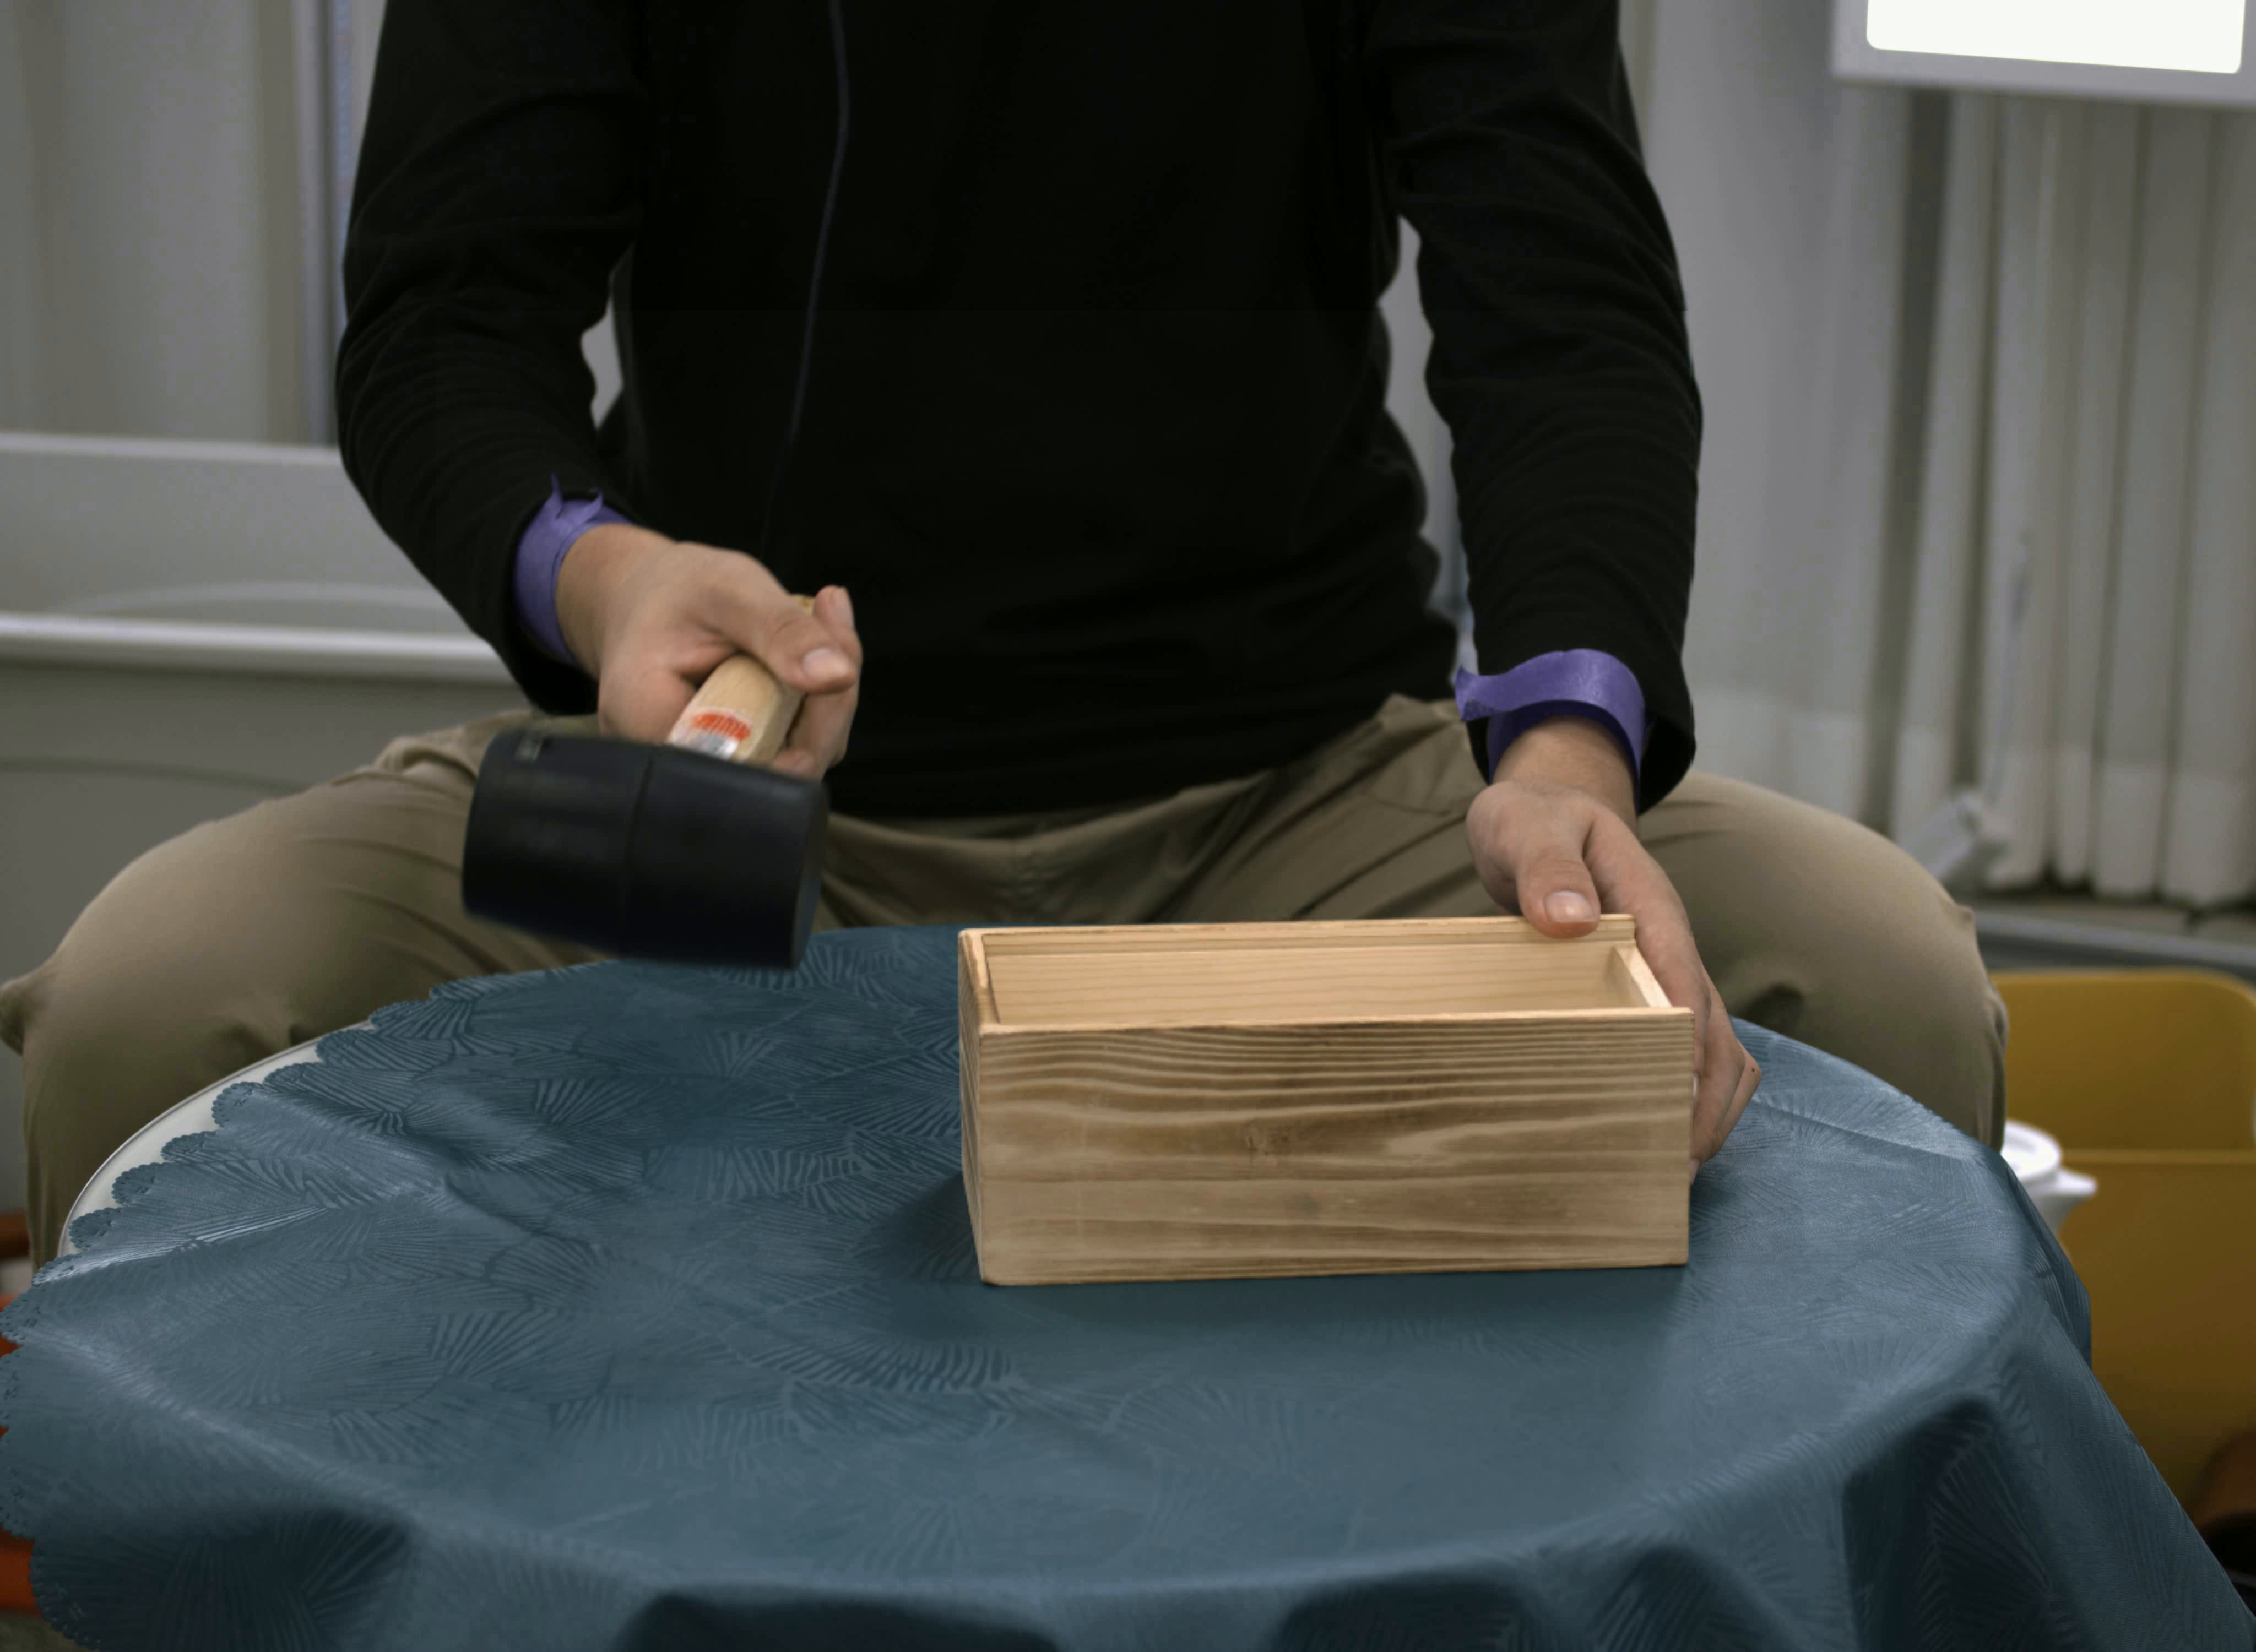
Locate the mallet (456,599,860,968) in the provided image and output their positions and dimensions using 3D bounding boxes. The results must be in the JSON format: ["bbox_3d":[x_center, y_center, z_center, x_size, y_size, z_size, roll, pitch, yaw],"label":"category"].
[{"bbox_3d":[-0.123,-0.035,1.632,0.101,0.065,0.338,15,17,2],"label":"mallet"}]

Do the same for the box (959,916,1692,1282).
[{"bbox_3d":[0.057,0.081,1.588,0.211,0.081,0.107,-1,15,-6],"label":"box"}]
